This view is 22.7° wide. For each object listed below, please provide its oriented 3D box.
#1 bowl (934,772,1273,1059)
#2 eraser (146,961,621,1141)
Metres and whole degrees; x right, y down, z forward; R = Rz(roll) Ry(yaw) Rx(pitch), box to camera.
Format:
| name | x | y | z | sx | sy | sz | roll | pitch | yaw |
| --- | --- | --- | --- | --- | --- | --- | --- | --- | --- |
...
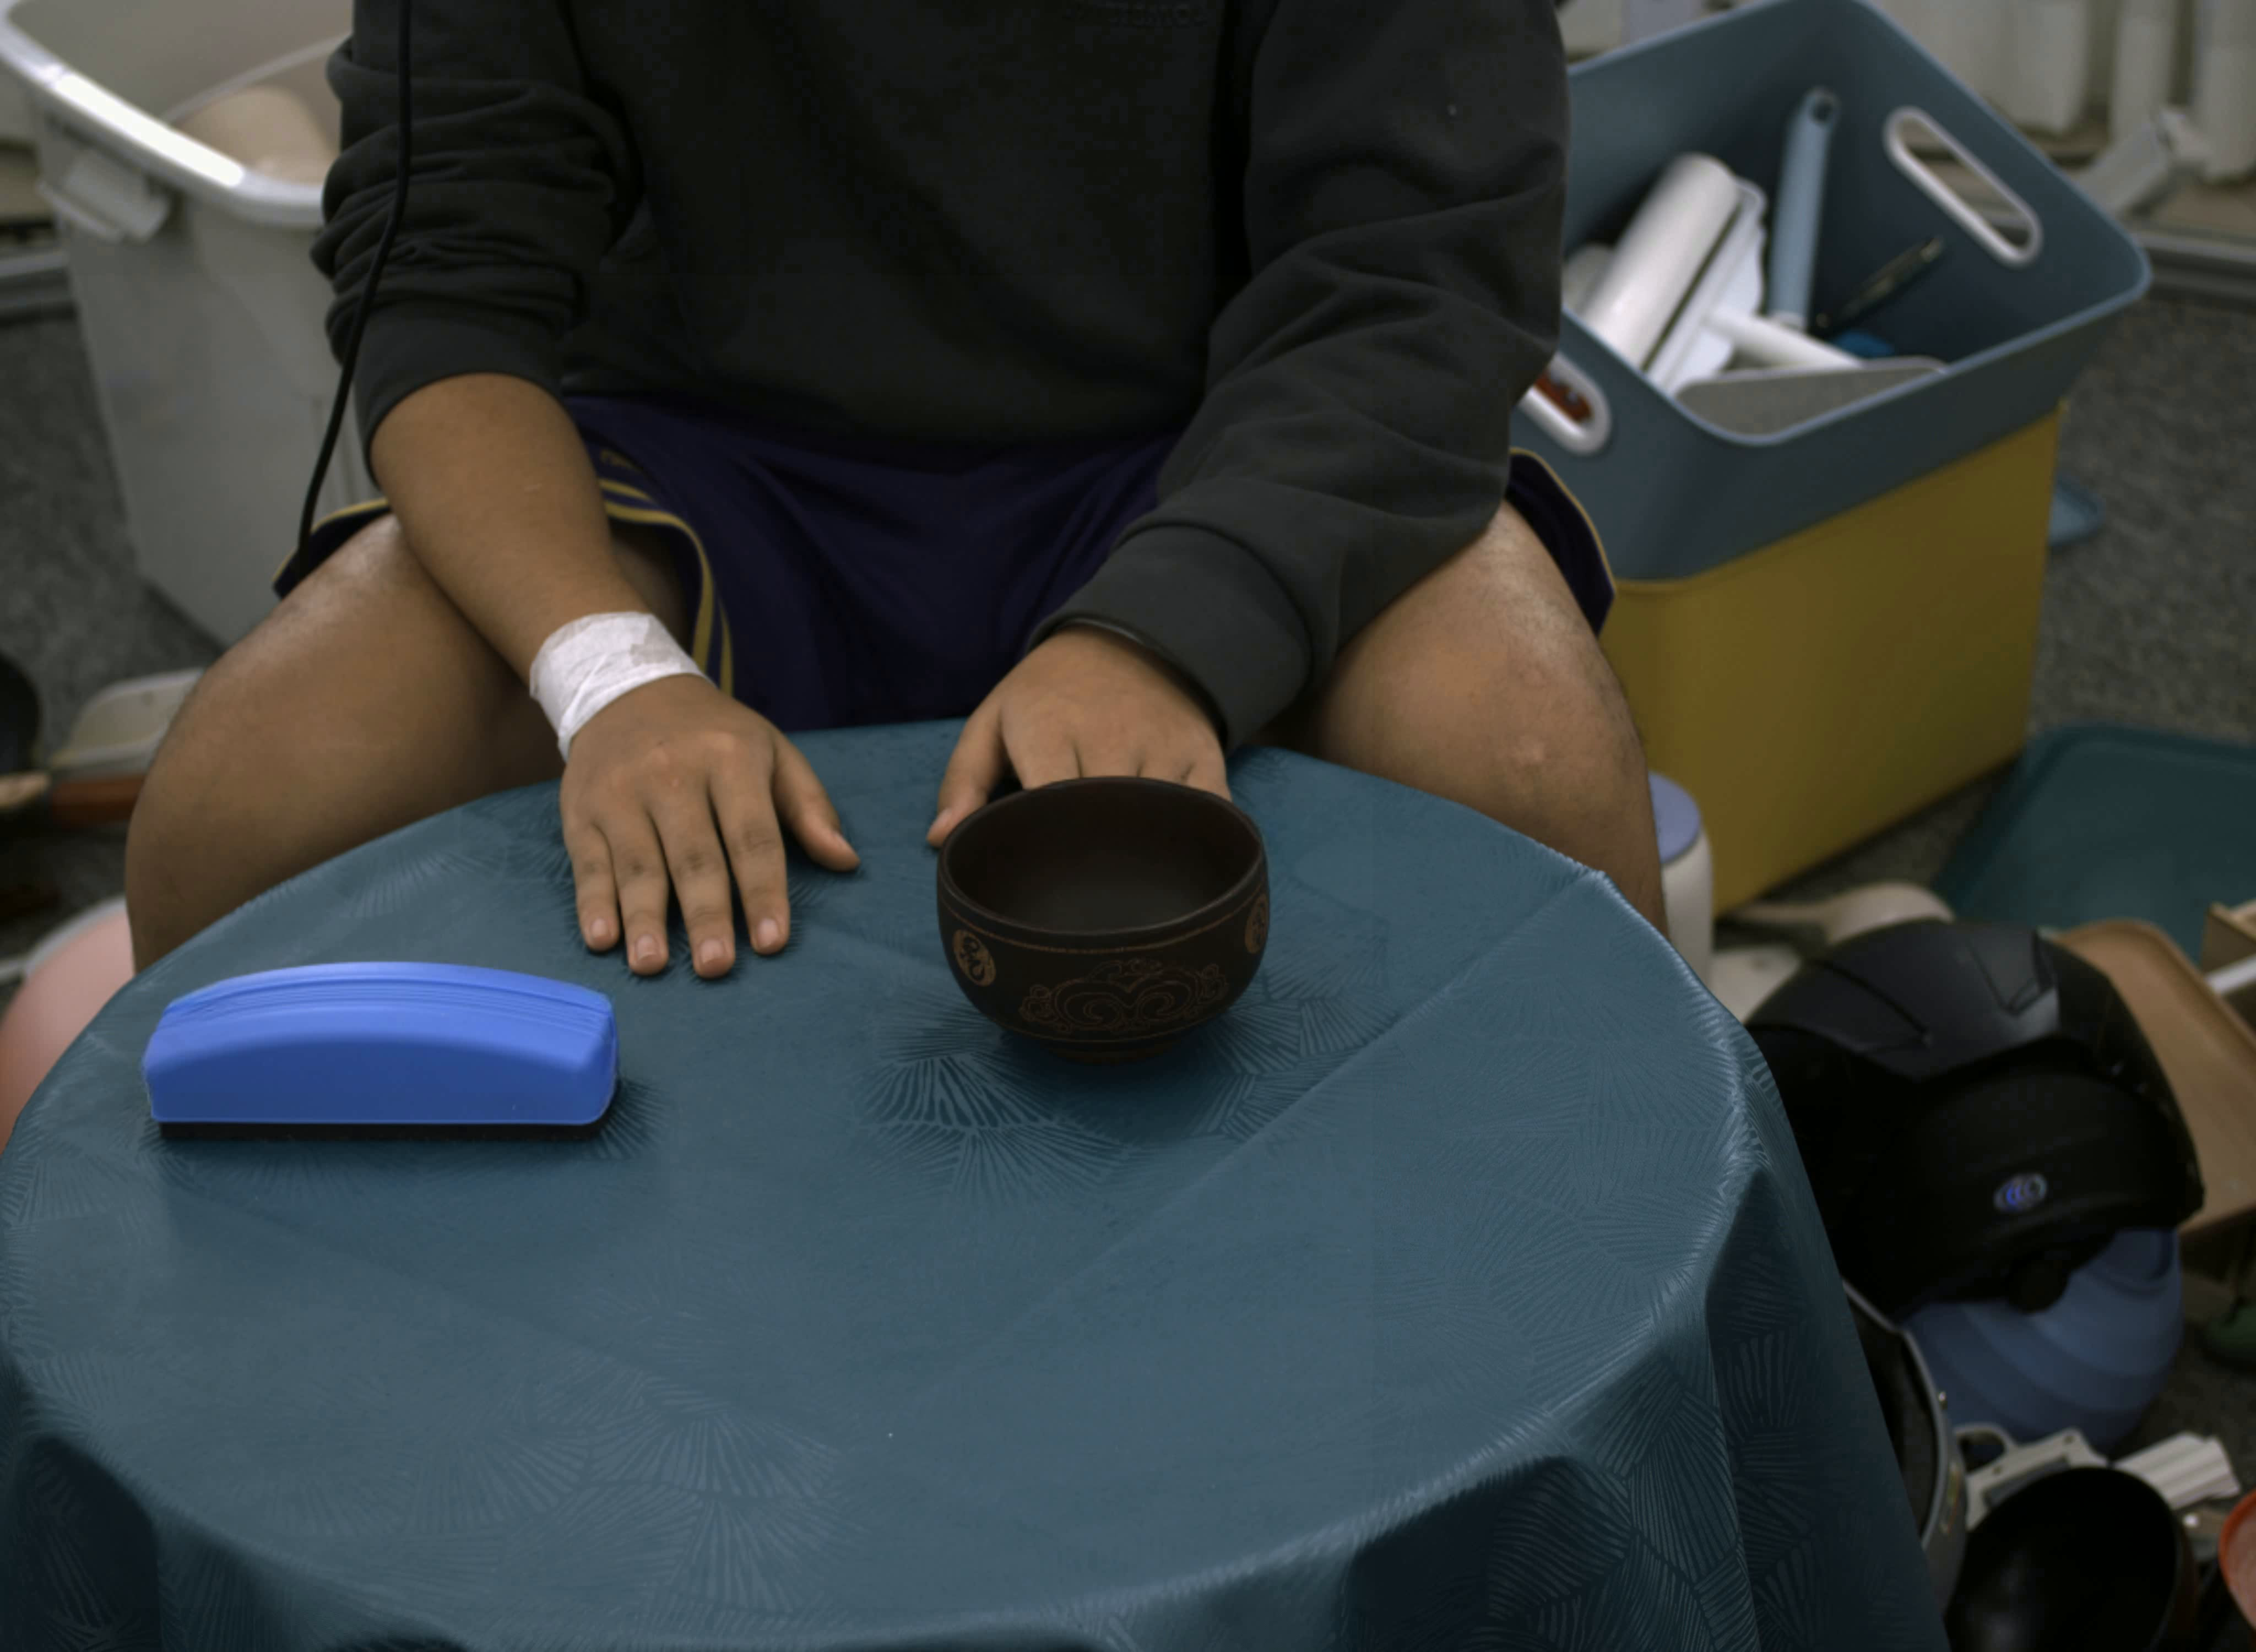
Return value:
| name | x | y | z | sx | sy | sz | roll | pitch | yaw |
| --- | --- | --- | --- | --- | --- | --- | --- | --- | --- |
| bowl | -0.007 | 0.037 | 1.946 | 0.117 | 0.069 | 0.120 | -3 | 26 | 2 |
| eraser | -0.255 | 0.077 | 1.924 | 0.161 | 0.047 | 0.055 | 0 | 28 | 4 |
